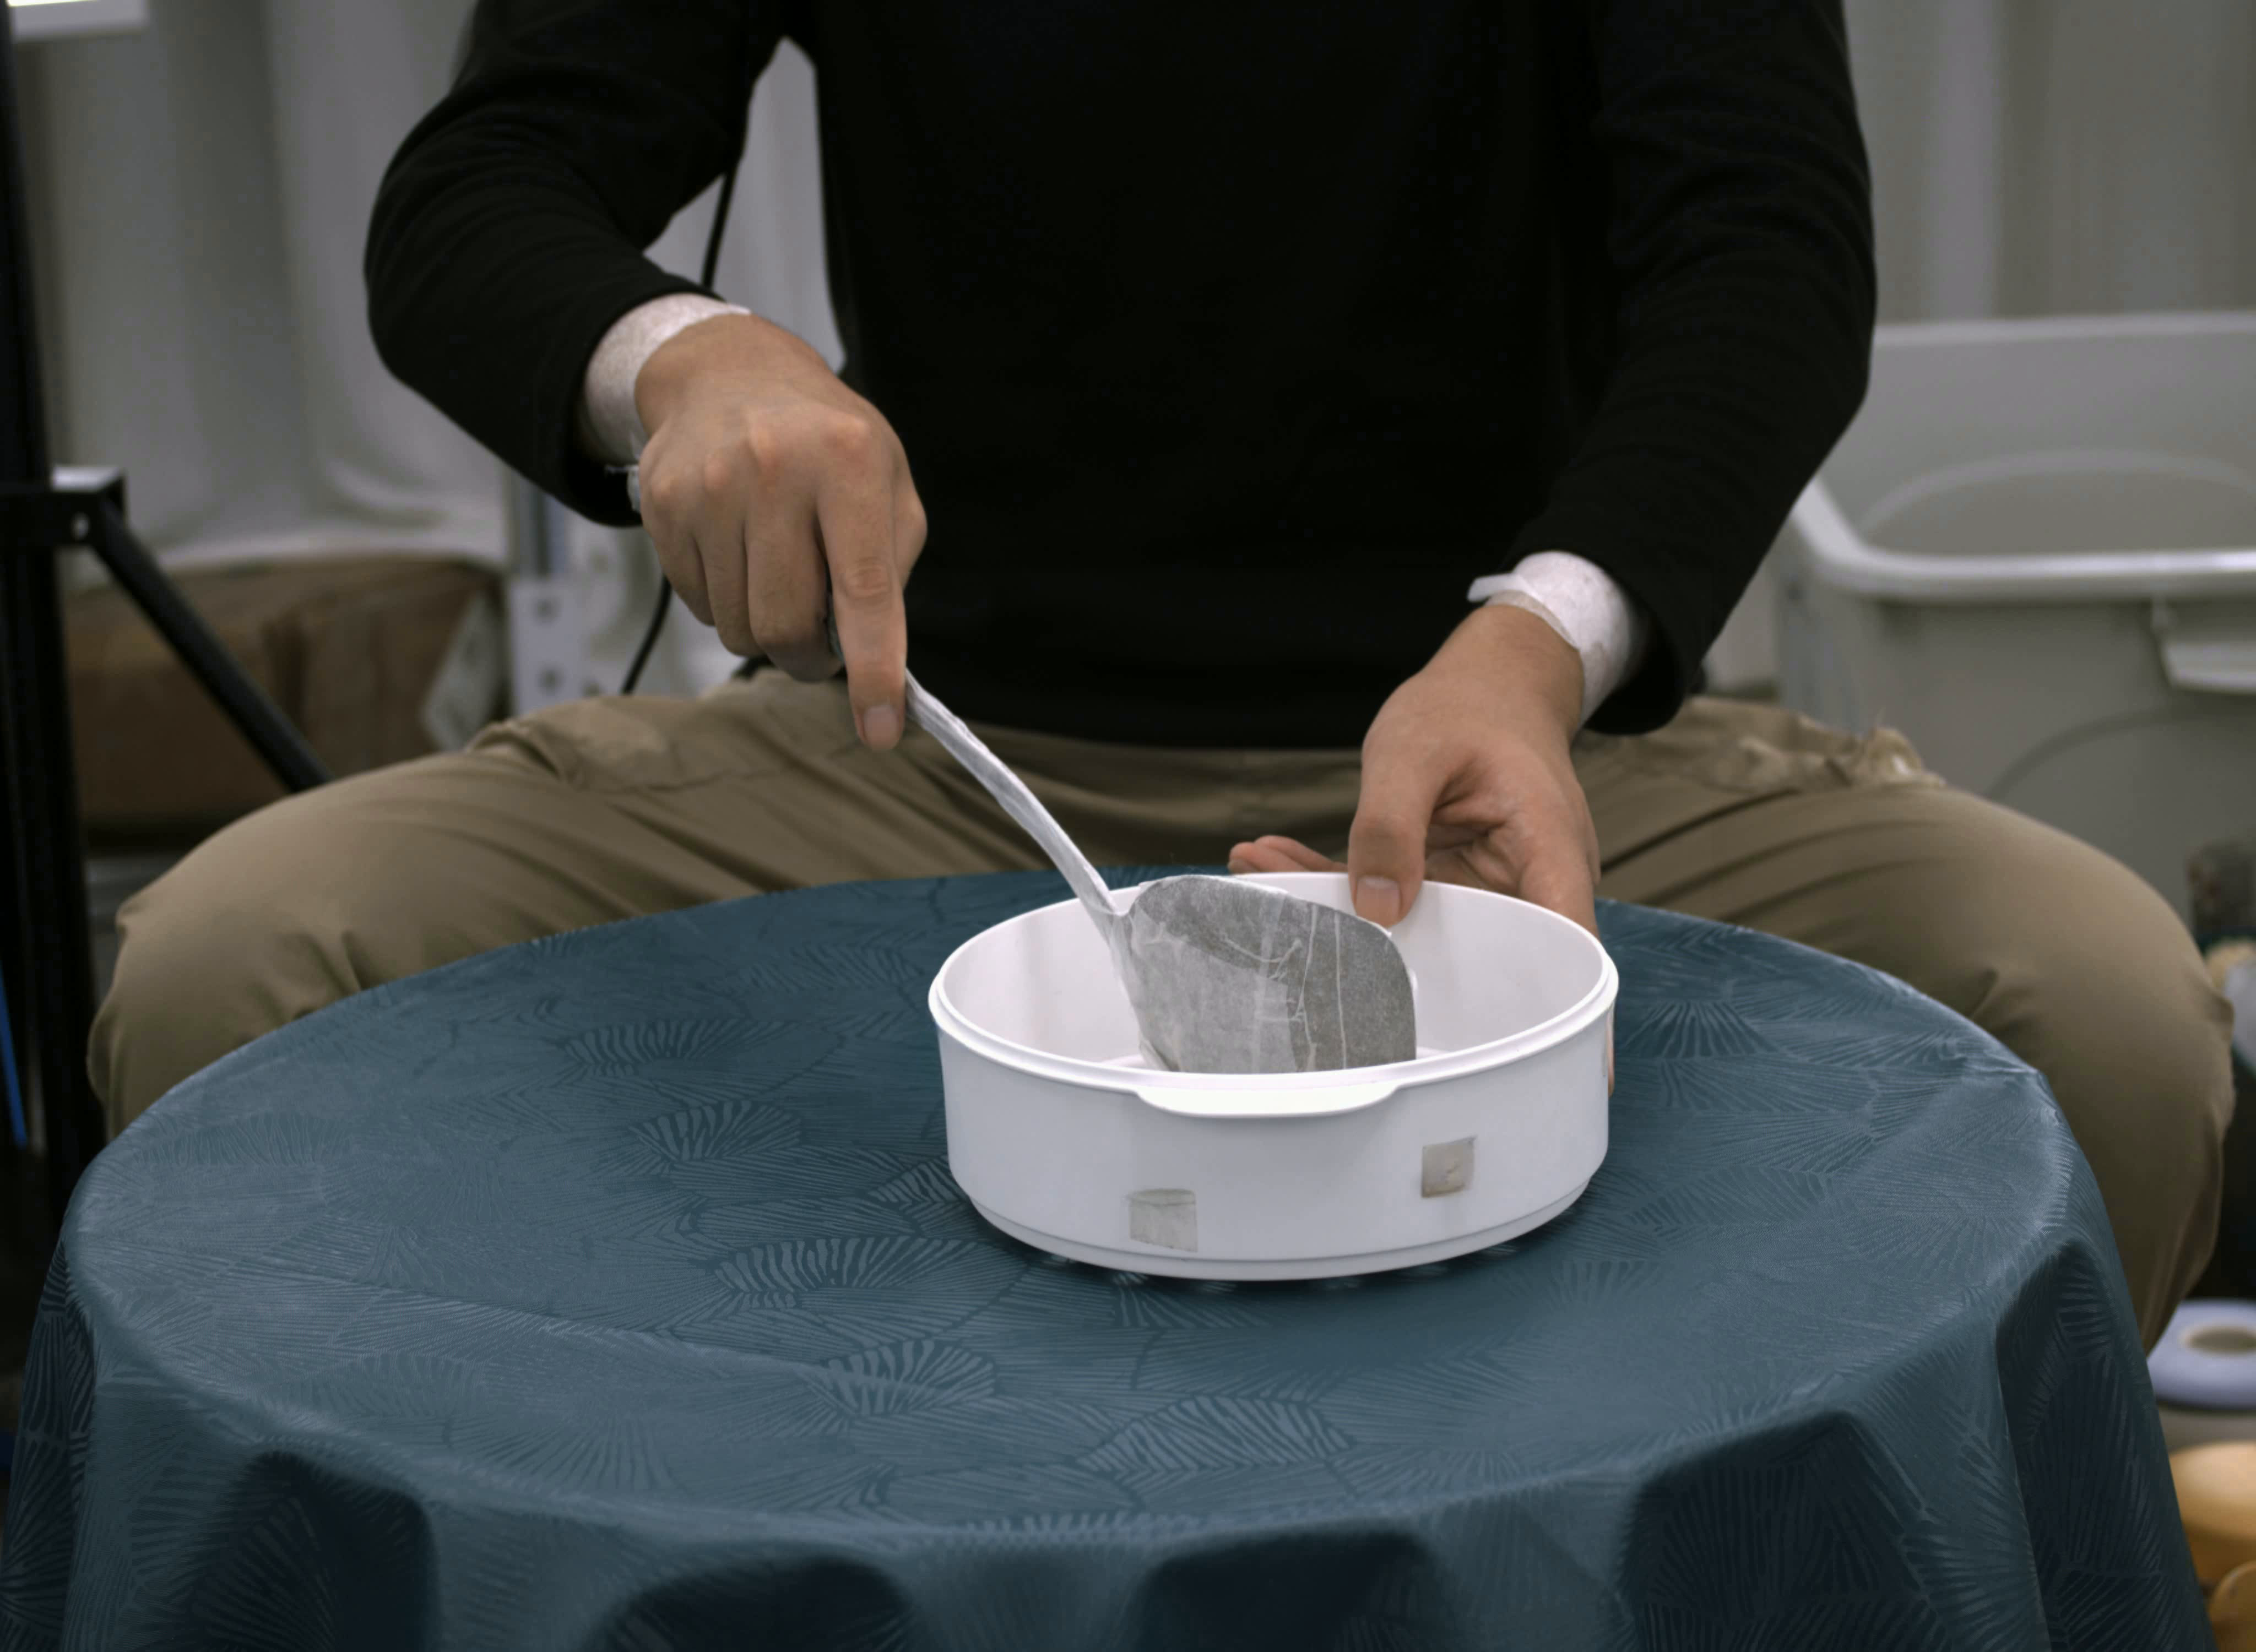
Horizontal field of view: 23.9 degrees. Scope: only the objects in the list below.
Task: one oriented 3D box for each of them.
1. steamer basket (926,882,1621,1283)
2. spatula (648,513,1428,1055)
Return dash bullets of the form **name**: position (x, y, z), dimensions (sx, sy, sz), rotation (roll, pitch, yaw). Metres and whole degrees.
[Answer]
- **steamer basket**: position (0.042, 0.074, 1.543), dimensions (0.202, 0.069, 0.230), rotation (0, 15, 4)
- **spatula**: position (-0.035, -0.013, 1.603), dimensions (0.044, 0.098, 0.373), rotation (-22, 43, -25)
